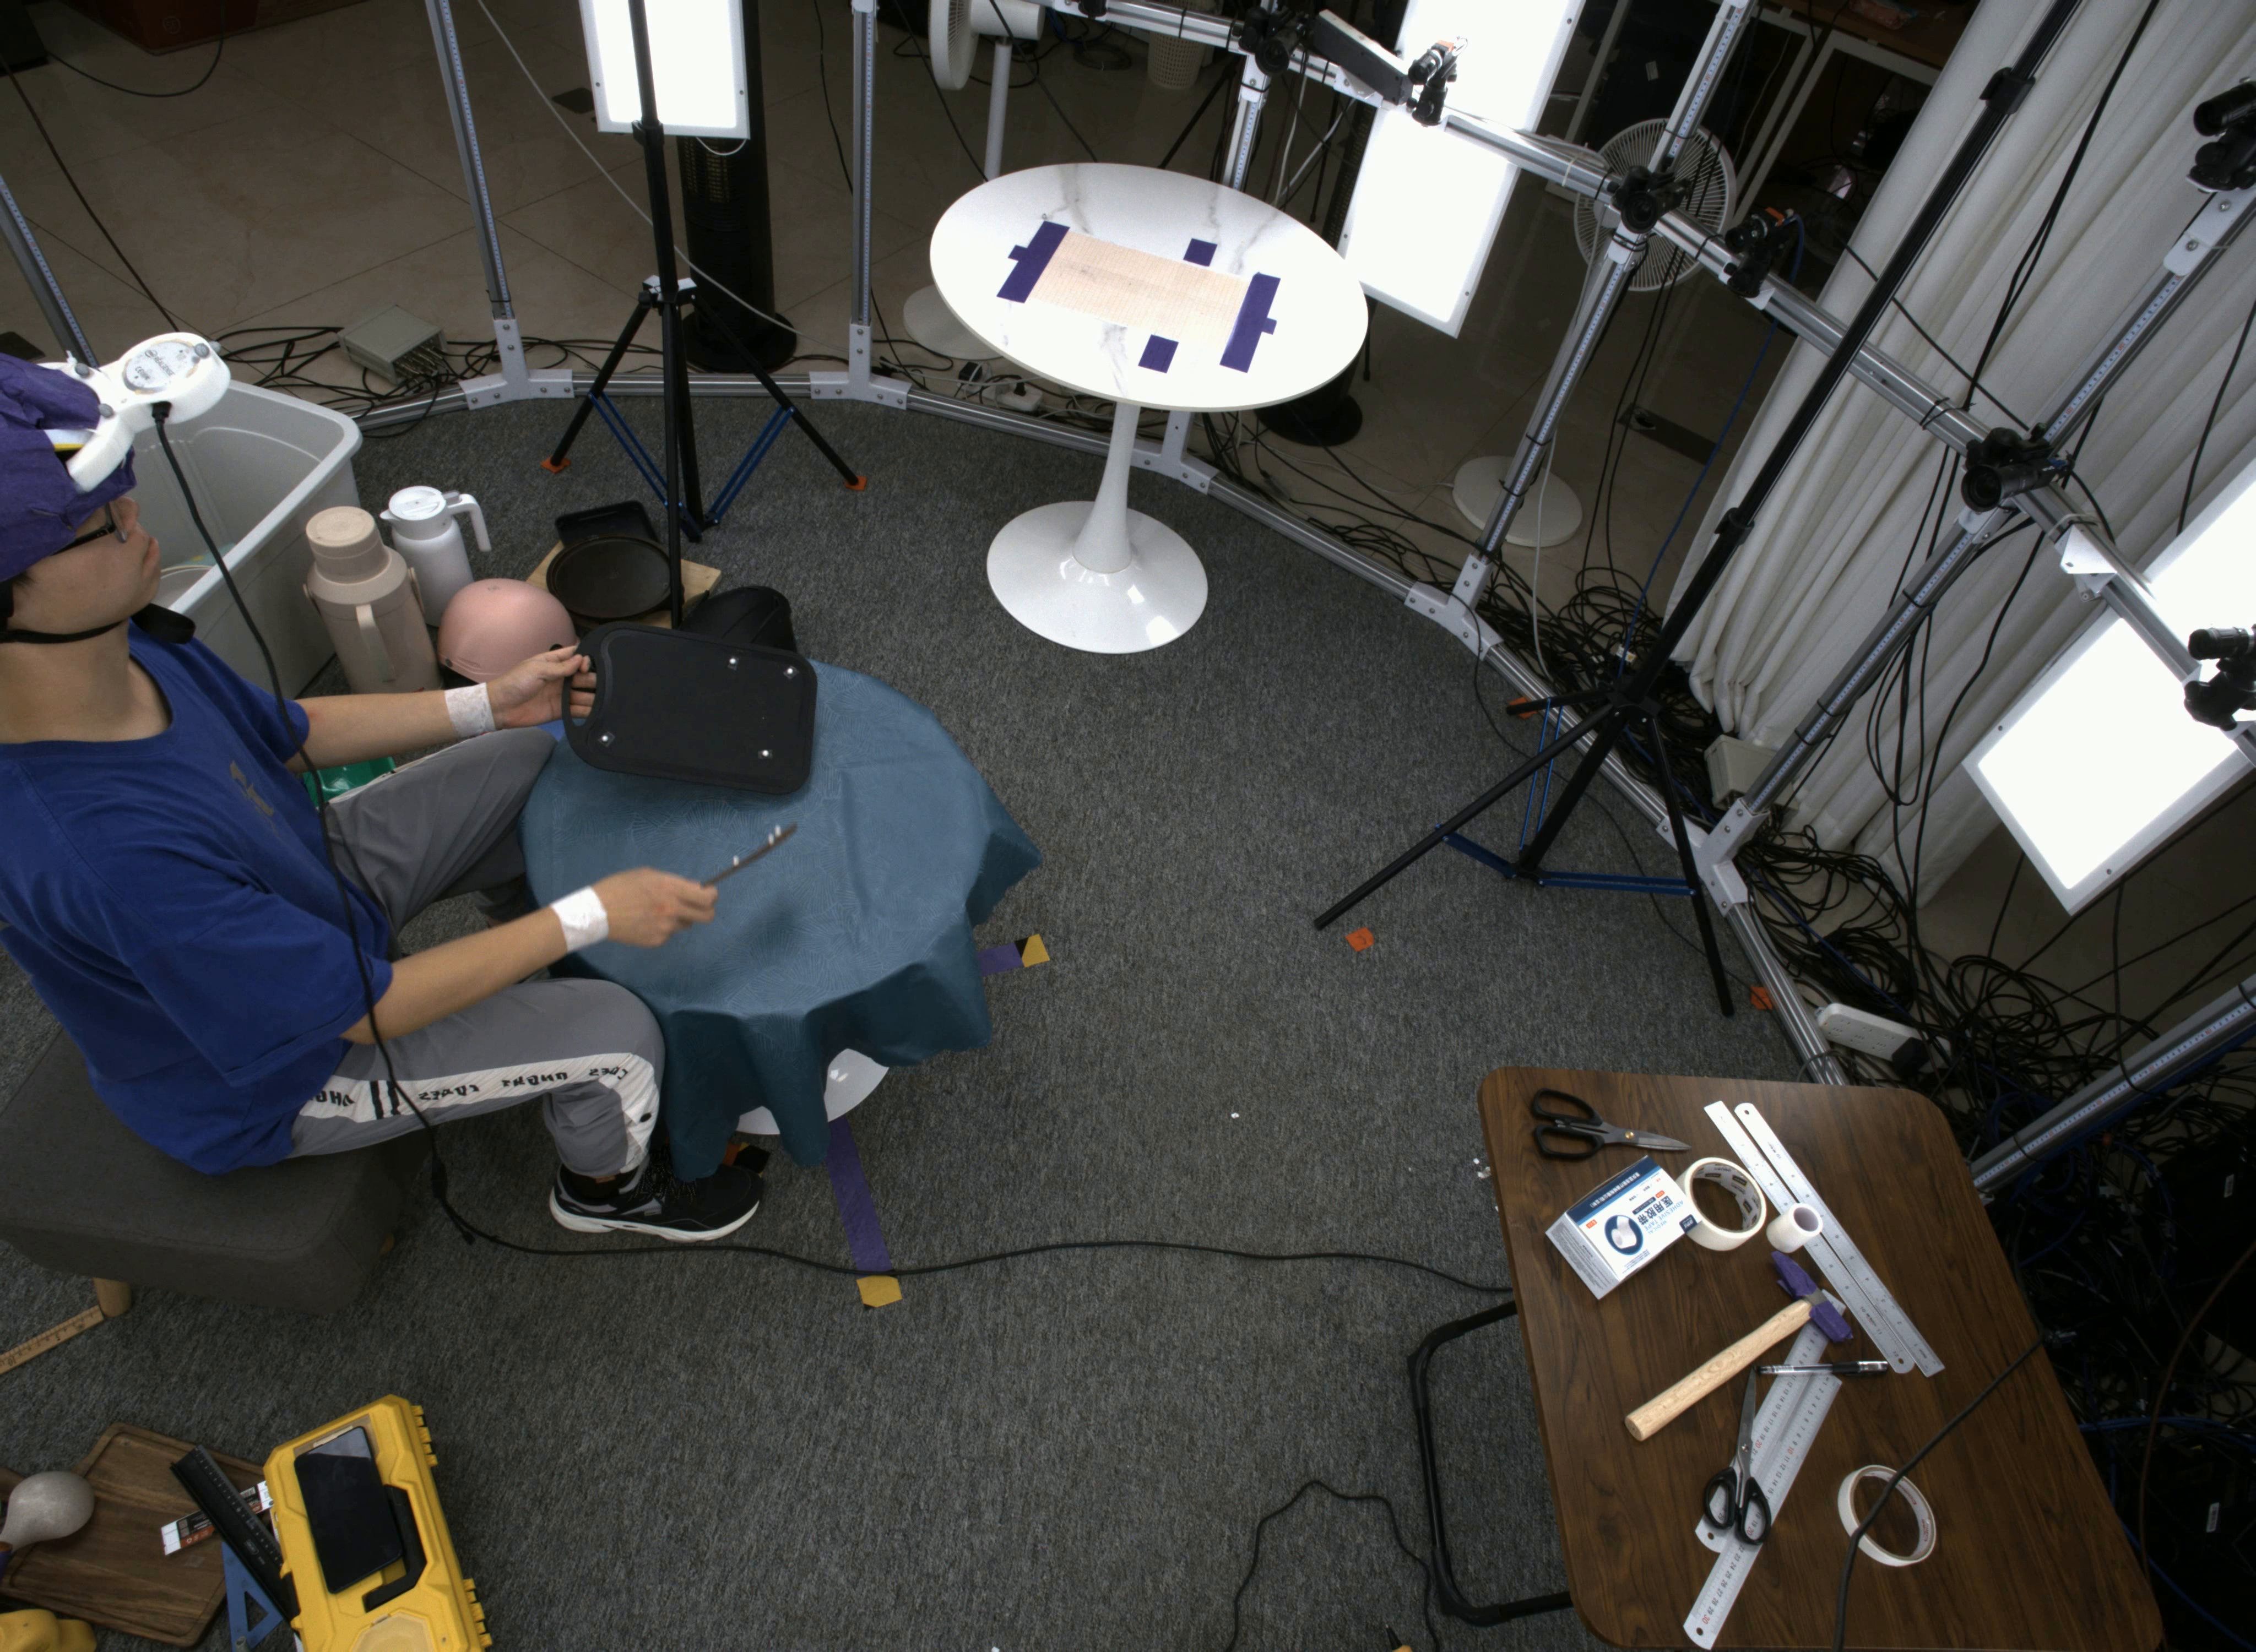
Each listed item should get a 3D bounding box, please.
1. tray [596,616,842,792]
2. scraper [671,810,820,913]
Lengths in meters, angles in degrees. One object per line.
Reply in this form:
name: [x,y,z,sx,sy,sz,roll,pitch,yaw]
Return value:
tray: [-0.547,-0.165,1.714,0.330,0.009,0.210,10,72,-24]
scraper: [-0.459,0.042,1.555,0.211,0.074,0.011,-37,100,-27]
